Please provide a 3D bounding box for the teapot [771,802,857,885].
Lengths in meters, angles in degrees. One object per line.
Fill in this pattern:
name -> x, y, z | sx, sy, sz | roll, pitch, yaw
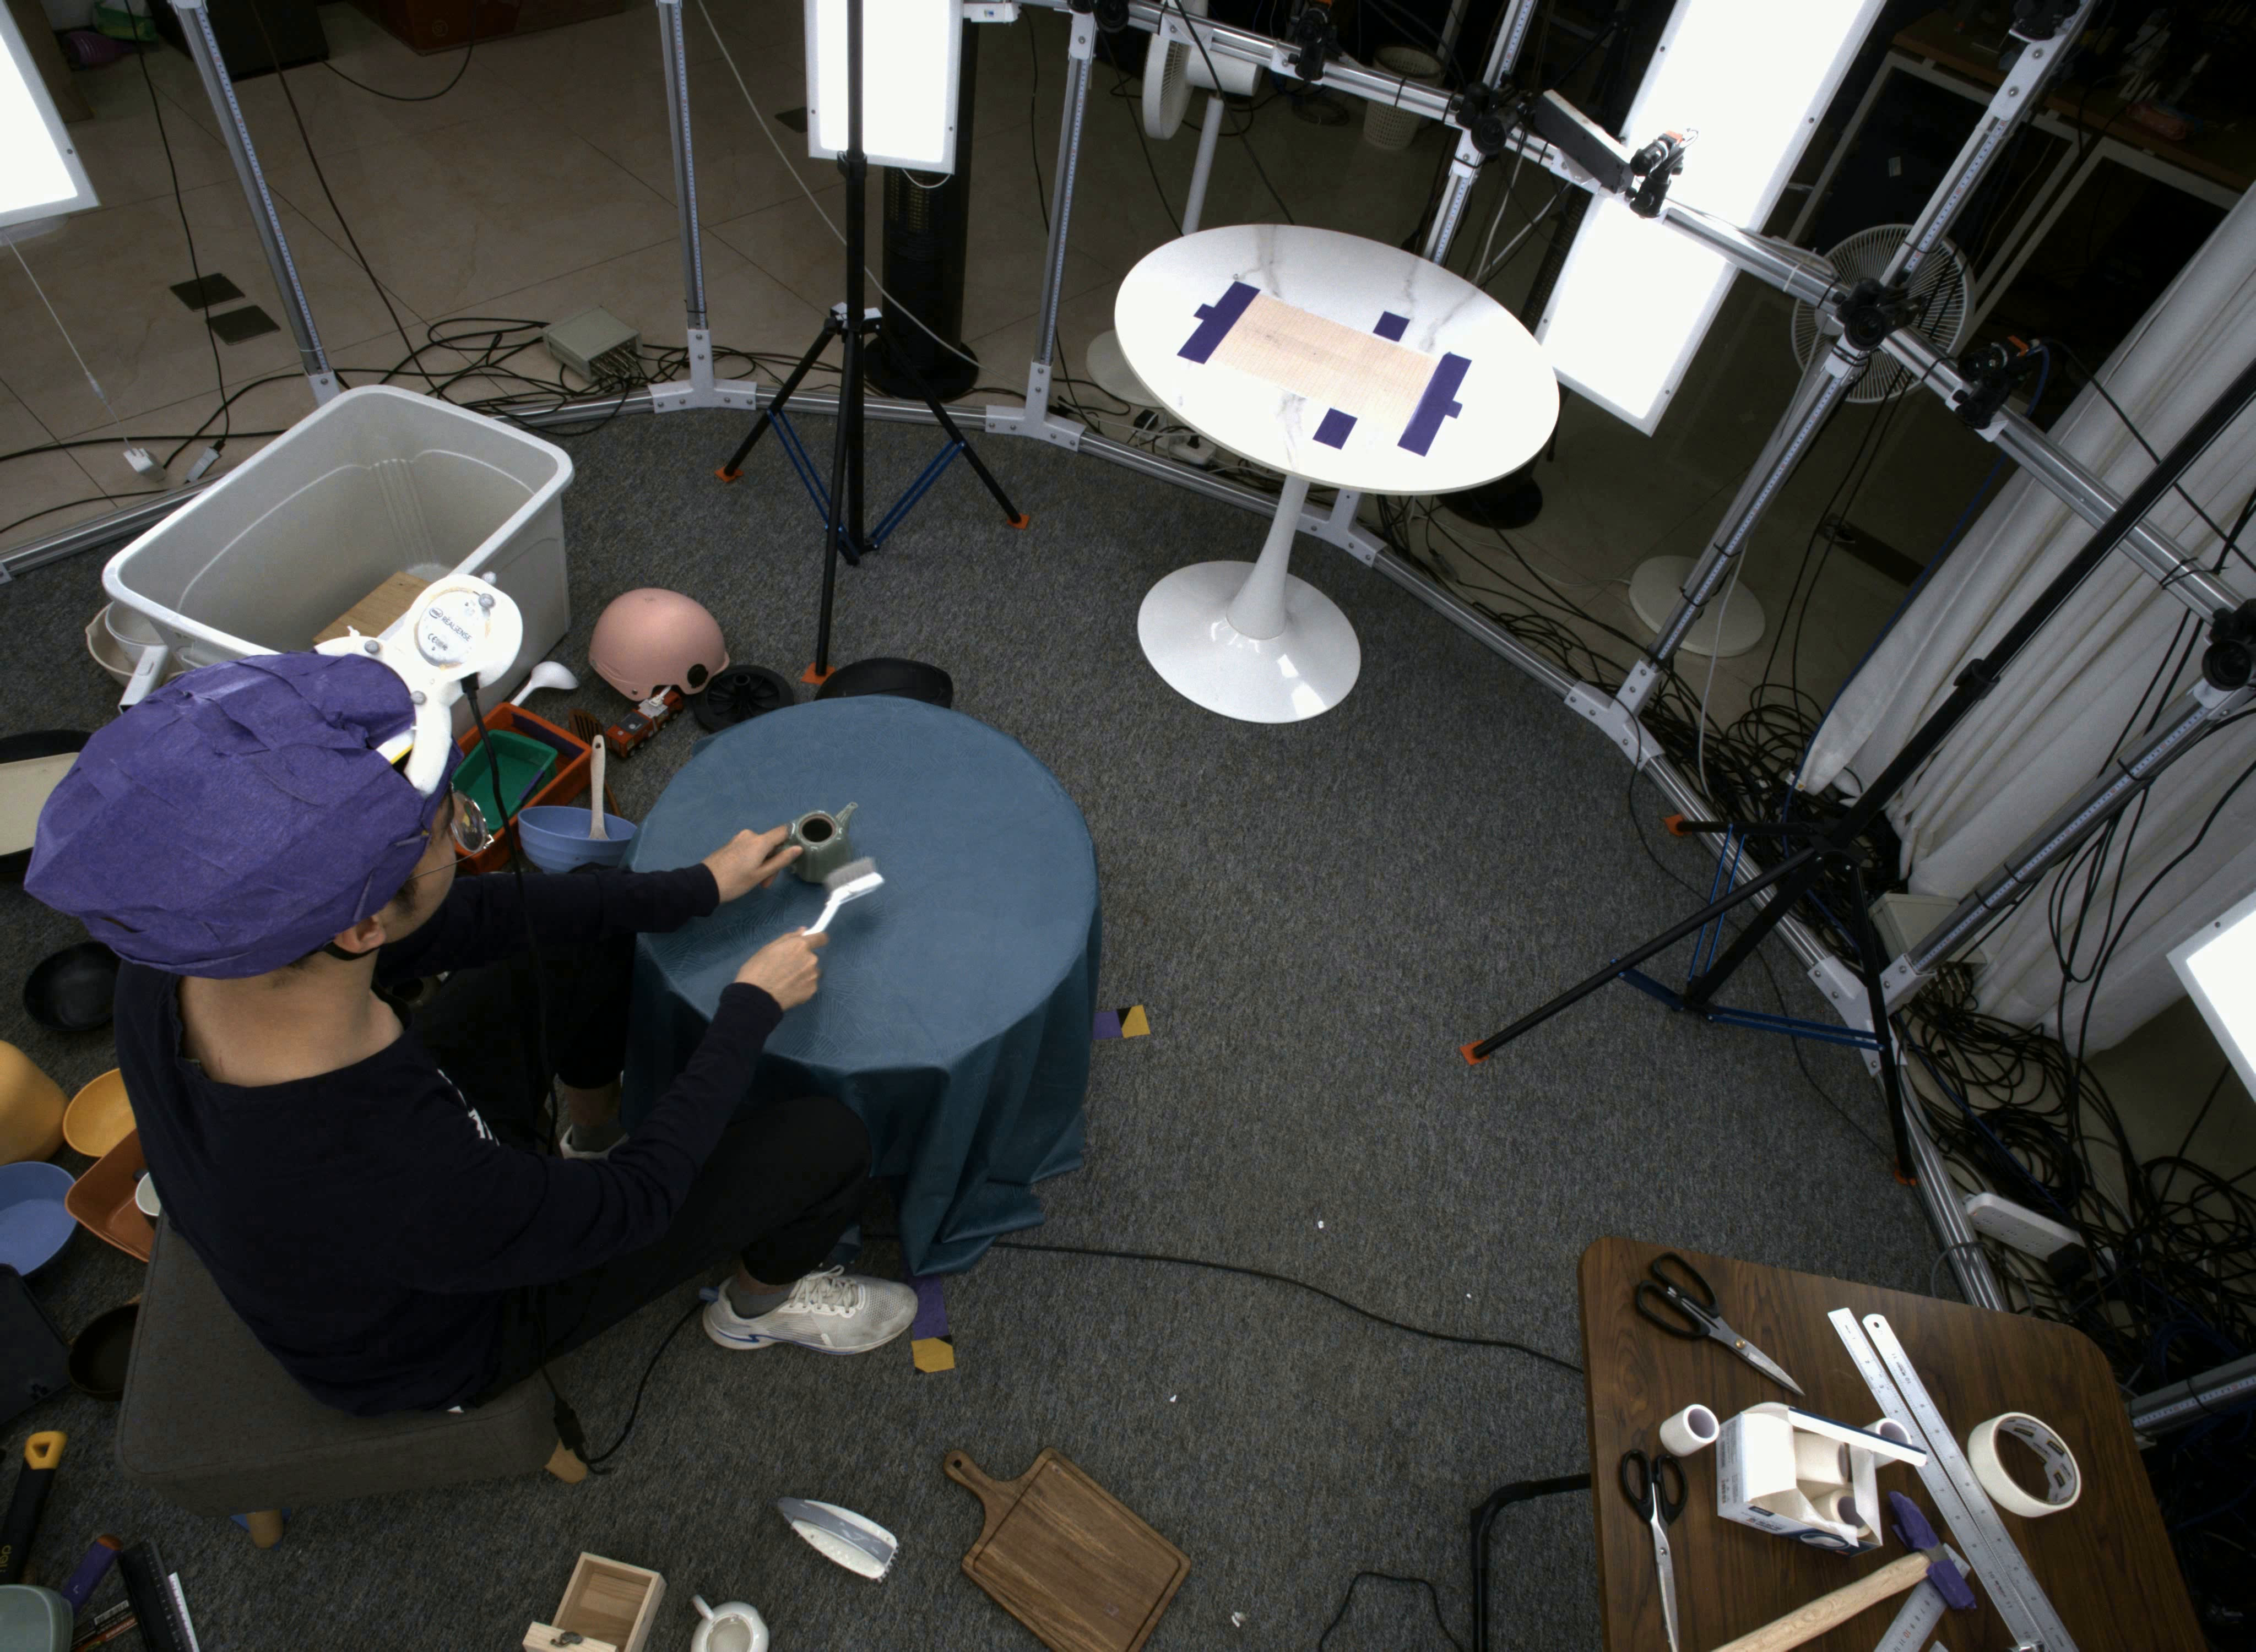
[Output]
teapot -> -0.401, 0.023, 1.667 | 0.078, 0.077, 0.133 | 40, 56, 18

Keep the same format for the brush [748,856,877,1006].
brush -> -0.388, 0.117, 1.557 | 0.050, 0.034, 0.243 | 44, 49, -5
